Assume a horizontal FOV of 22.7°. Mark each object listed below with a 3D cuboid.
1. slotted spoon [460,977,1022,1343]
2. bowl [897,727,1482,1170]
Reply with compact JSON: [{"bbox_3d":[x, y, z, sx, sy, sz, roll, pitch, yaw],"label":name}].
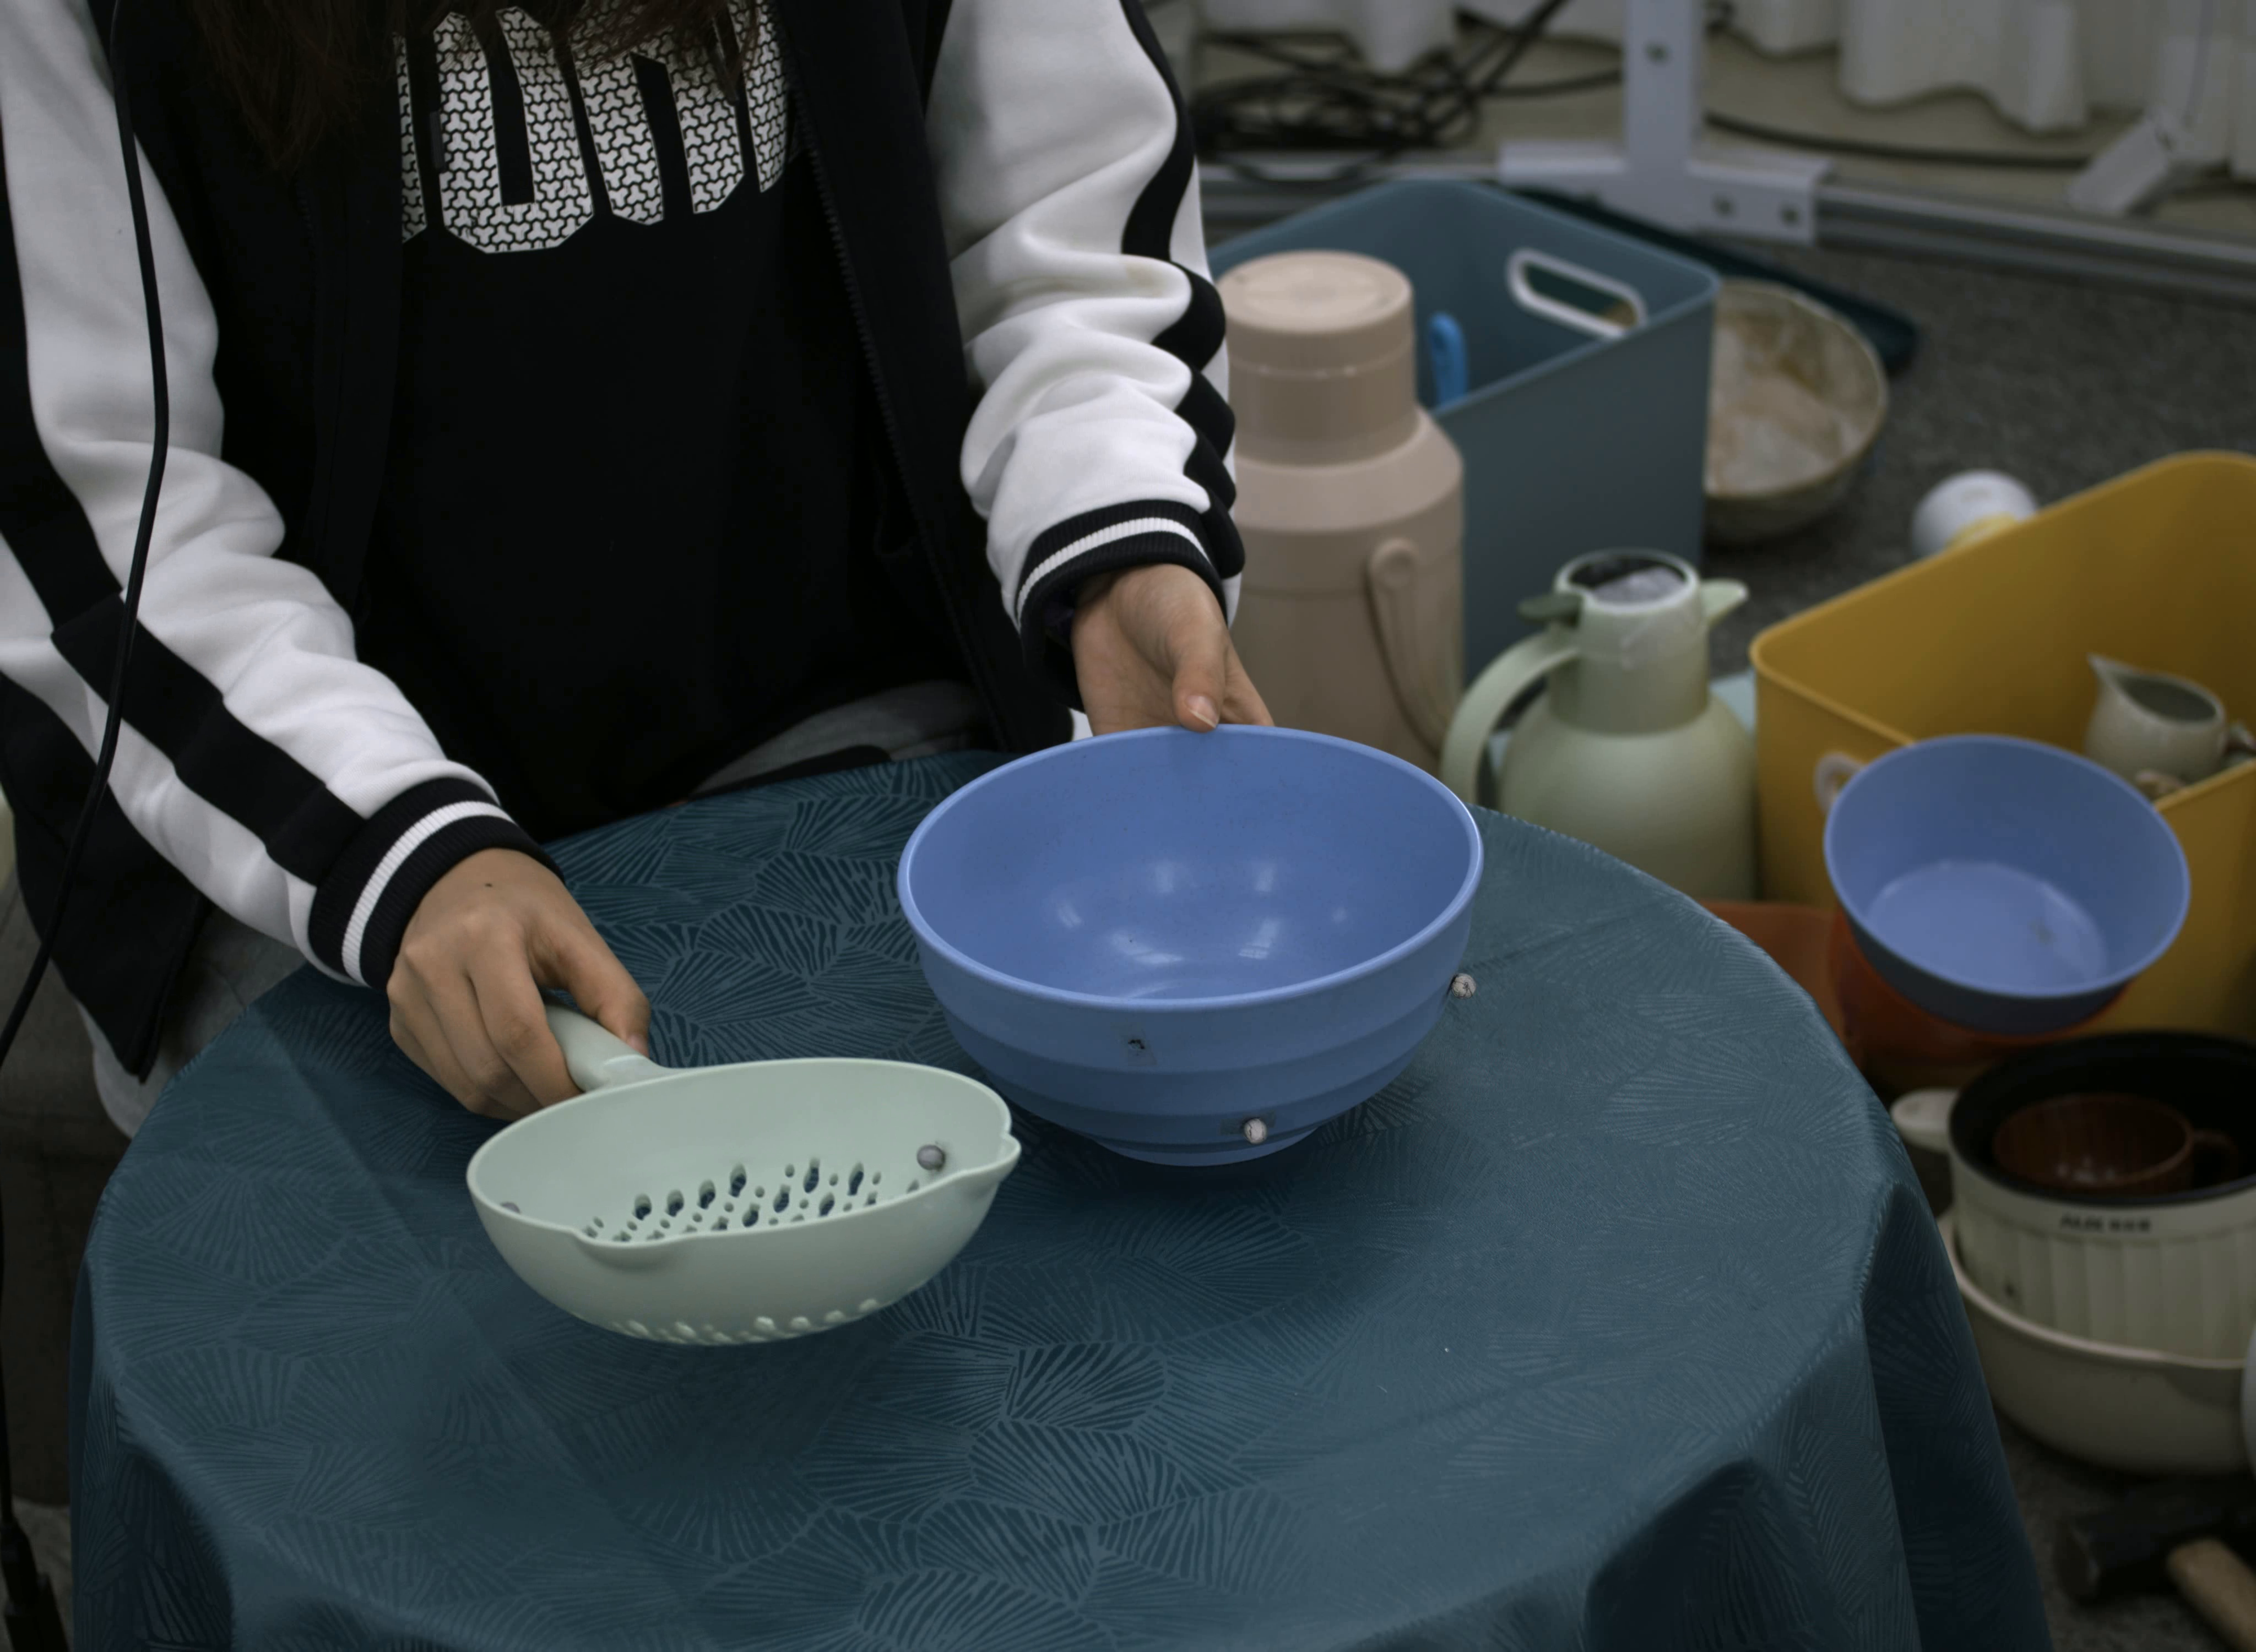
[{"bbox_3d":[-0.158,0.092,1.824,0.170,0.075,0.360,-10,22,-22],"label":"slotted spoon"},{"bbox_3d":[0.023,0.052,1.893,0.195,0.094,0.199,-3,27,2],"label":"bowl"}]
